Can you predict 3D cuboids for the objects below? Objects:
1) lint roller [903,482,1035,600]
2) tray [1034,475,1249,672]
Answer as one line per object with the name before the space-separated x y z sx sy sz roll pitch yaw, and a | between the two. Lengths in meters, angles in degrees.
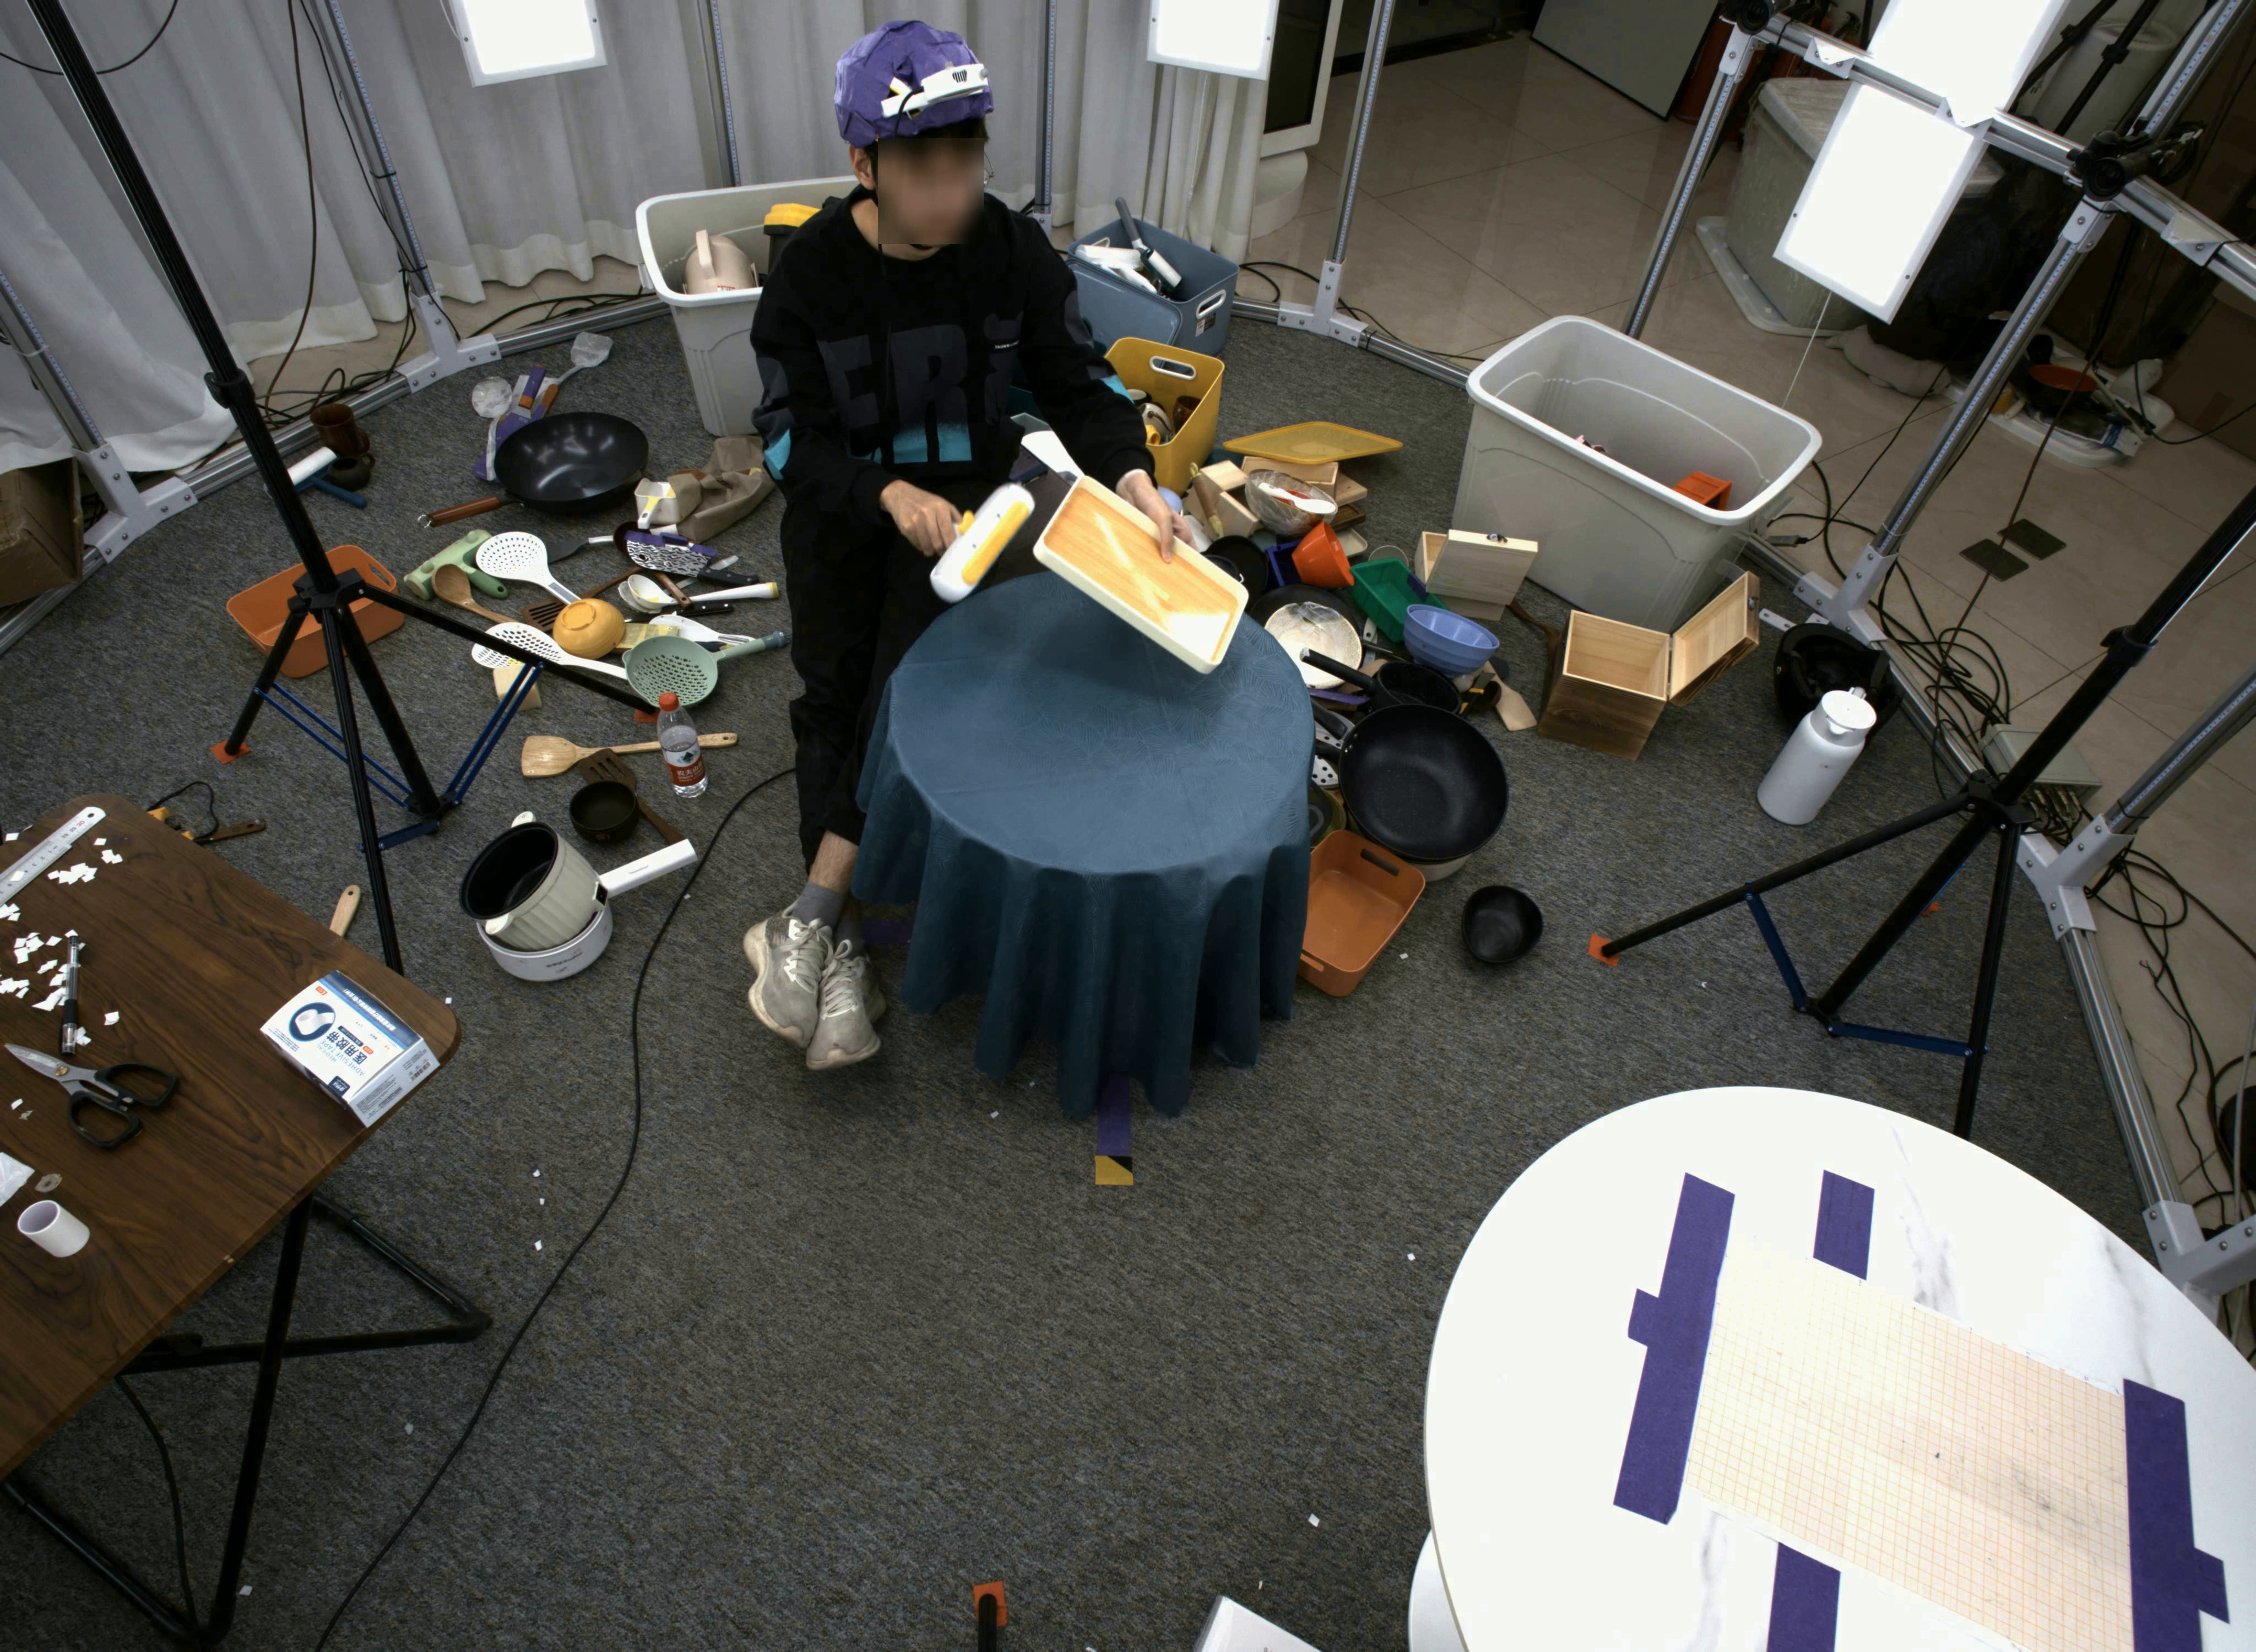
lint roller | -0.242 -0.408 1.827 0.194 0.073 0.195 11 65 46
tray | 0.025 -0.354 1.801 0.298 0.027 0.195 34 45 -9
